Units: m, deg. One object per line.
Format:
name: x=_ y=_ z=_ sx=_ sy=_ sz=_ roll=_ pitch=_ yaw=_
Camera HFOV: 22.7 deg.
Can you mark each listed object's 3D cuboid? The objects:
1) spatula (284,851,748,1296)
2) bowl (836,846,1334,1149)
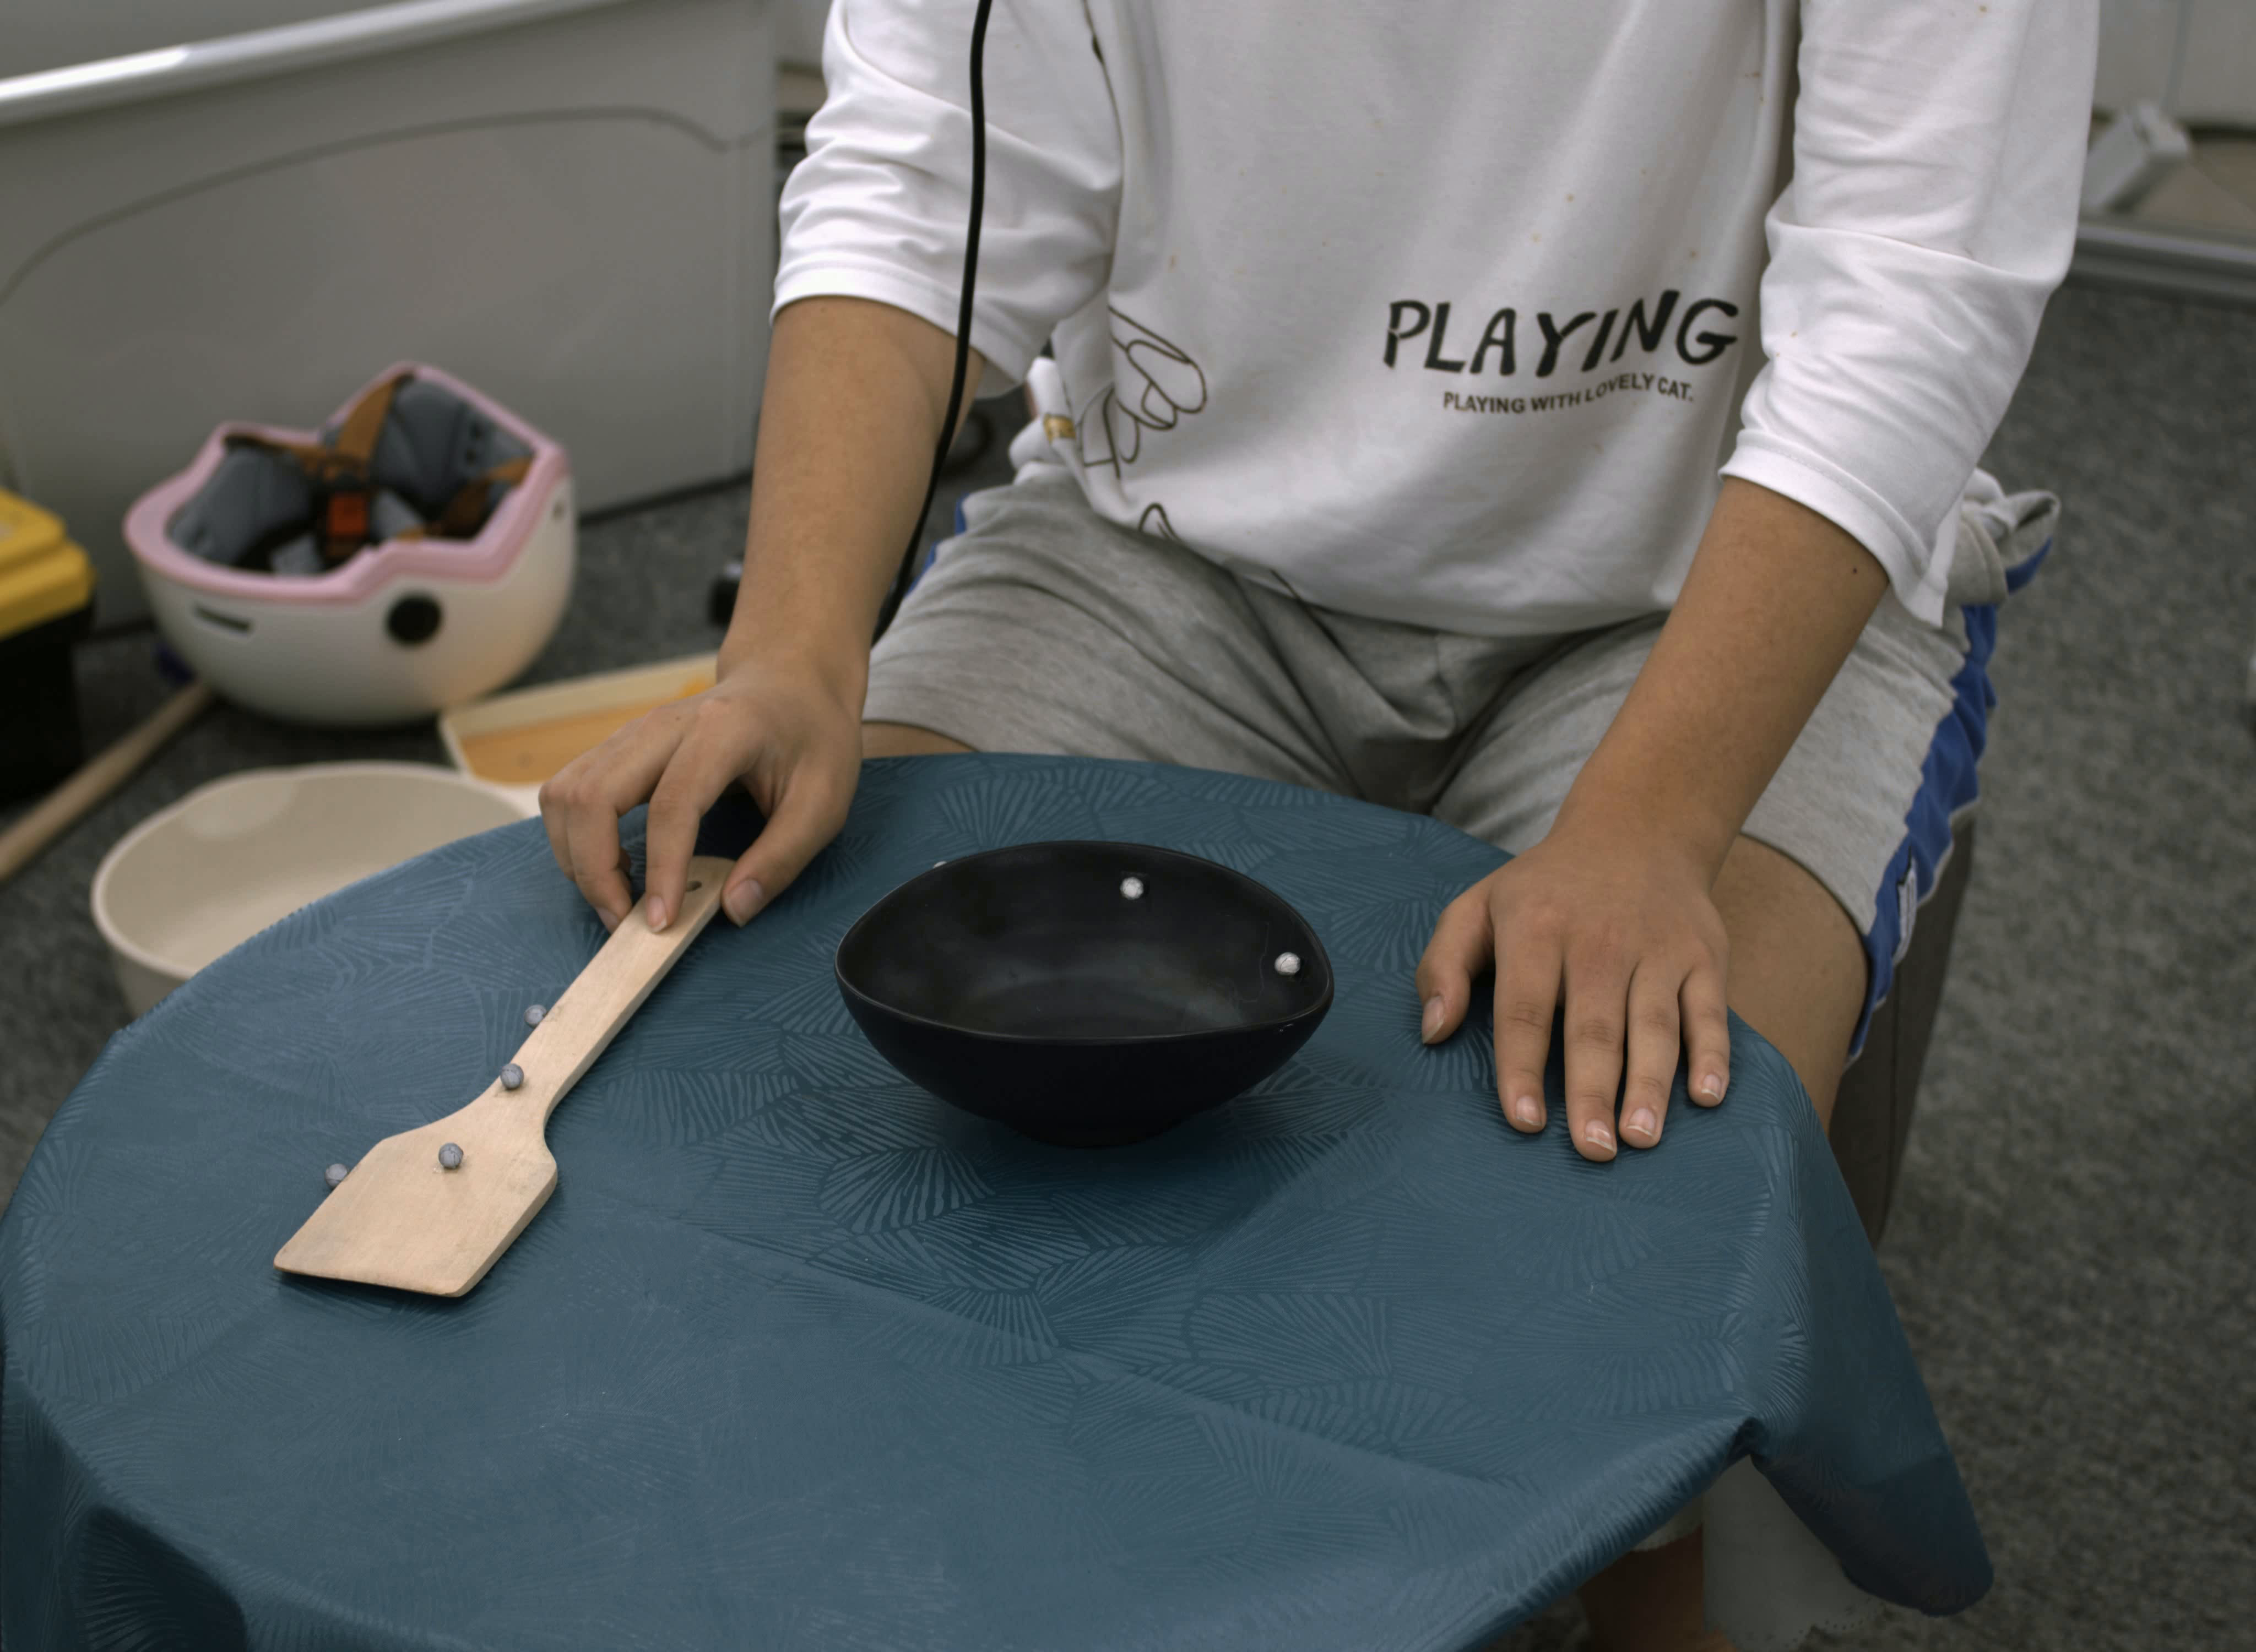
spatula: x=-0.199 y=0.081 z=1.946 sx=0.072 sy=0.010 sz=0.298 roll=6 pitch=30 yaw=18
bowl: x=-0.014 y=0.065 z=1.907 sx=0.169 sy=0.066 sz=0.139 roll=3 pitch=27 yaw=6
